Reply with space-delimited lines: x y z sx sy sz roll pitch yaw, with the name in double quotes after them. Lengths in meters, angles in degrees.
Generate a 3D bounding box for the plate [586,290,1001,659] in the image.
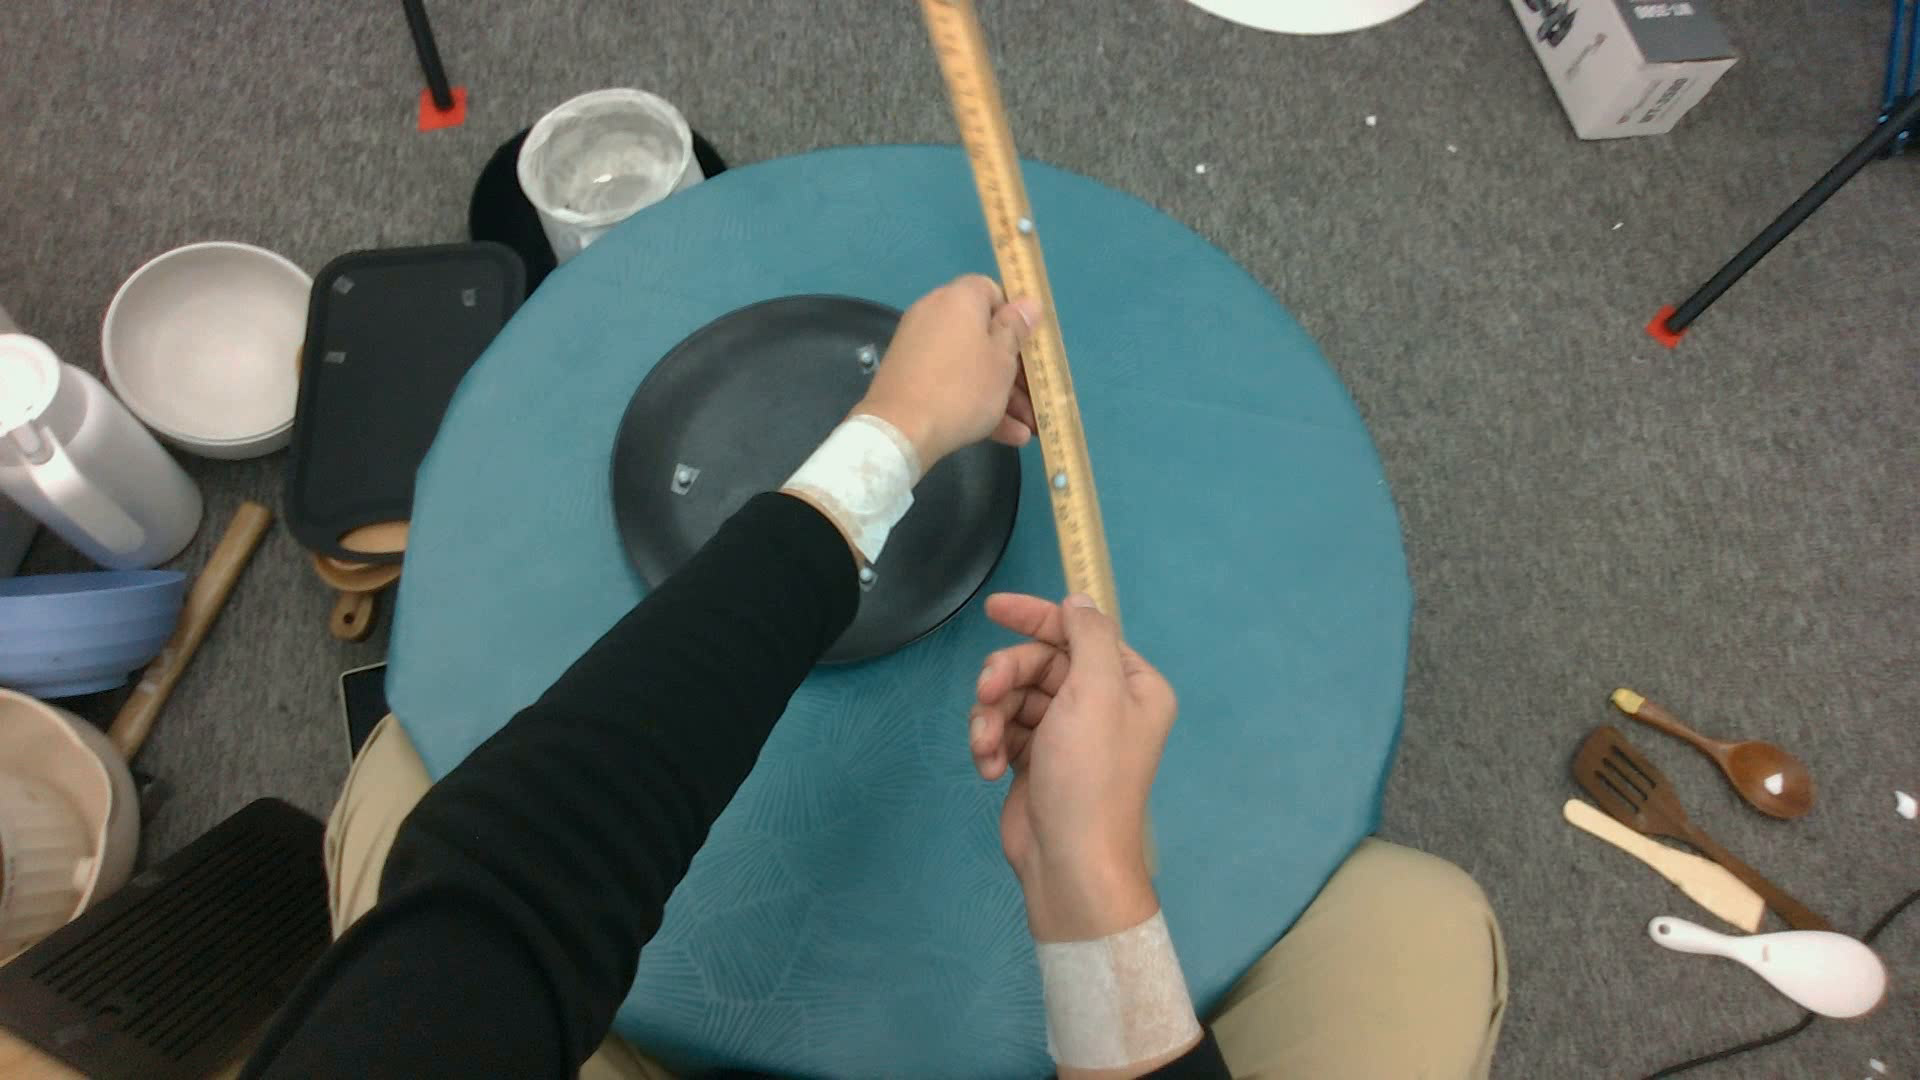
-0.098 -0.042 0.824 0.244 0.023 0.245 2 66 -5 "plate"

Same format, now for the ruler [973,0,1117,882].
0.045 -0.066 0.758 0.027 0.006 0.501 -5 84 -10 "ruler"
